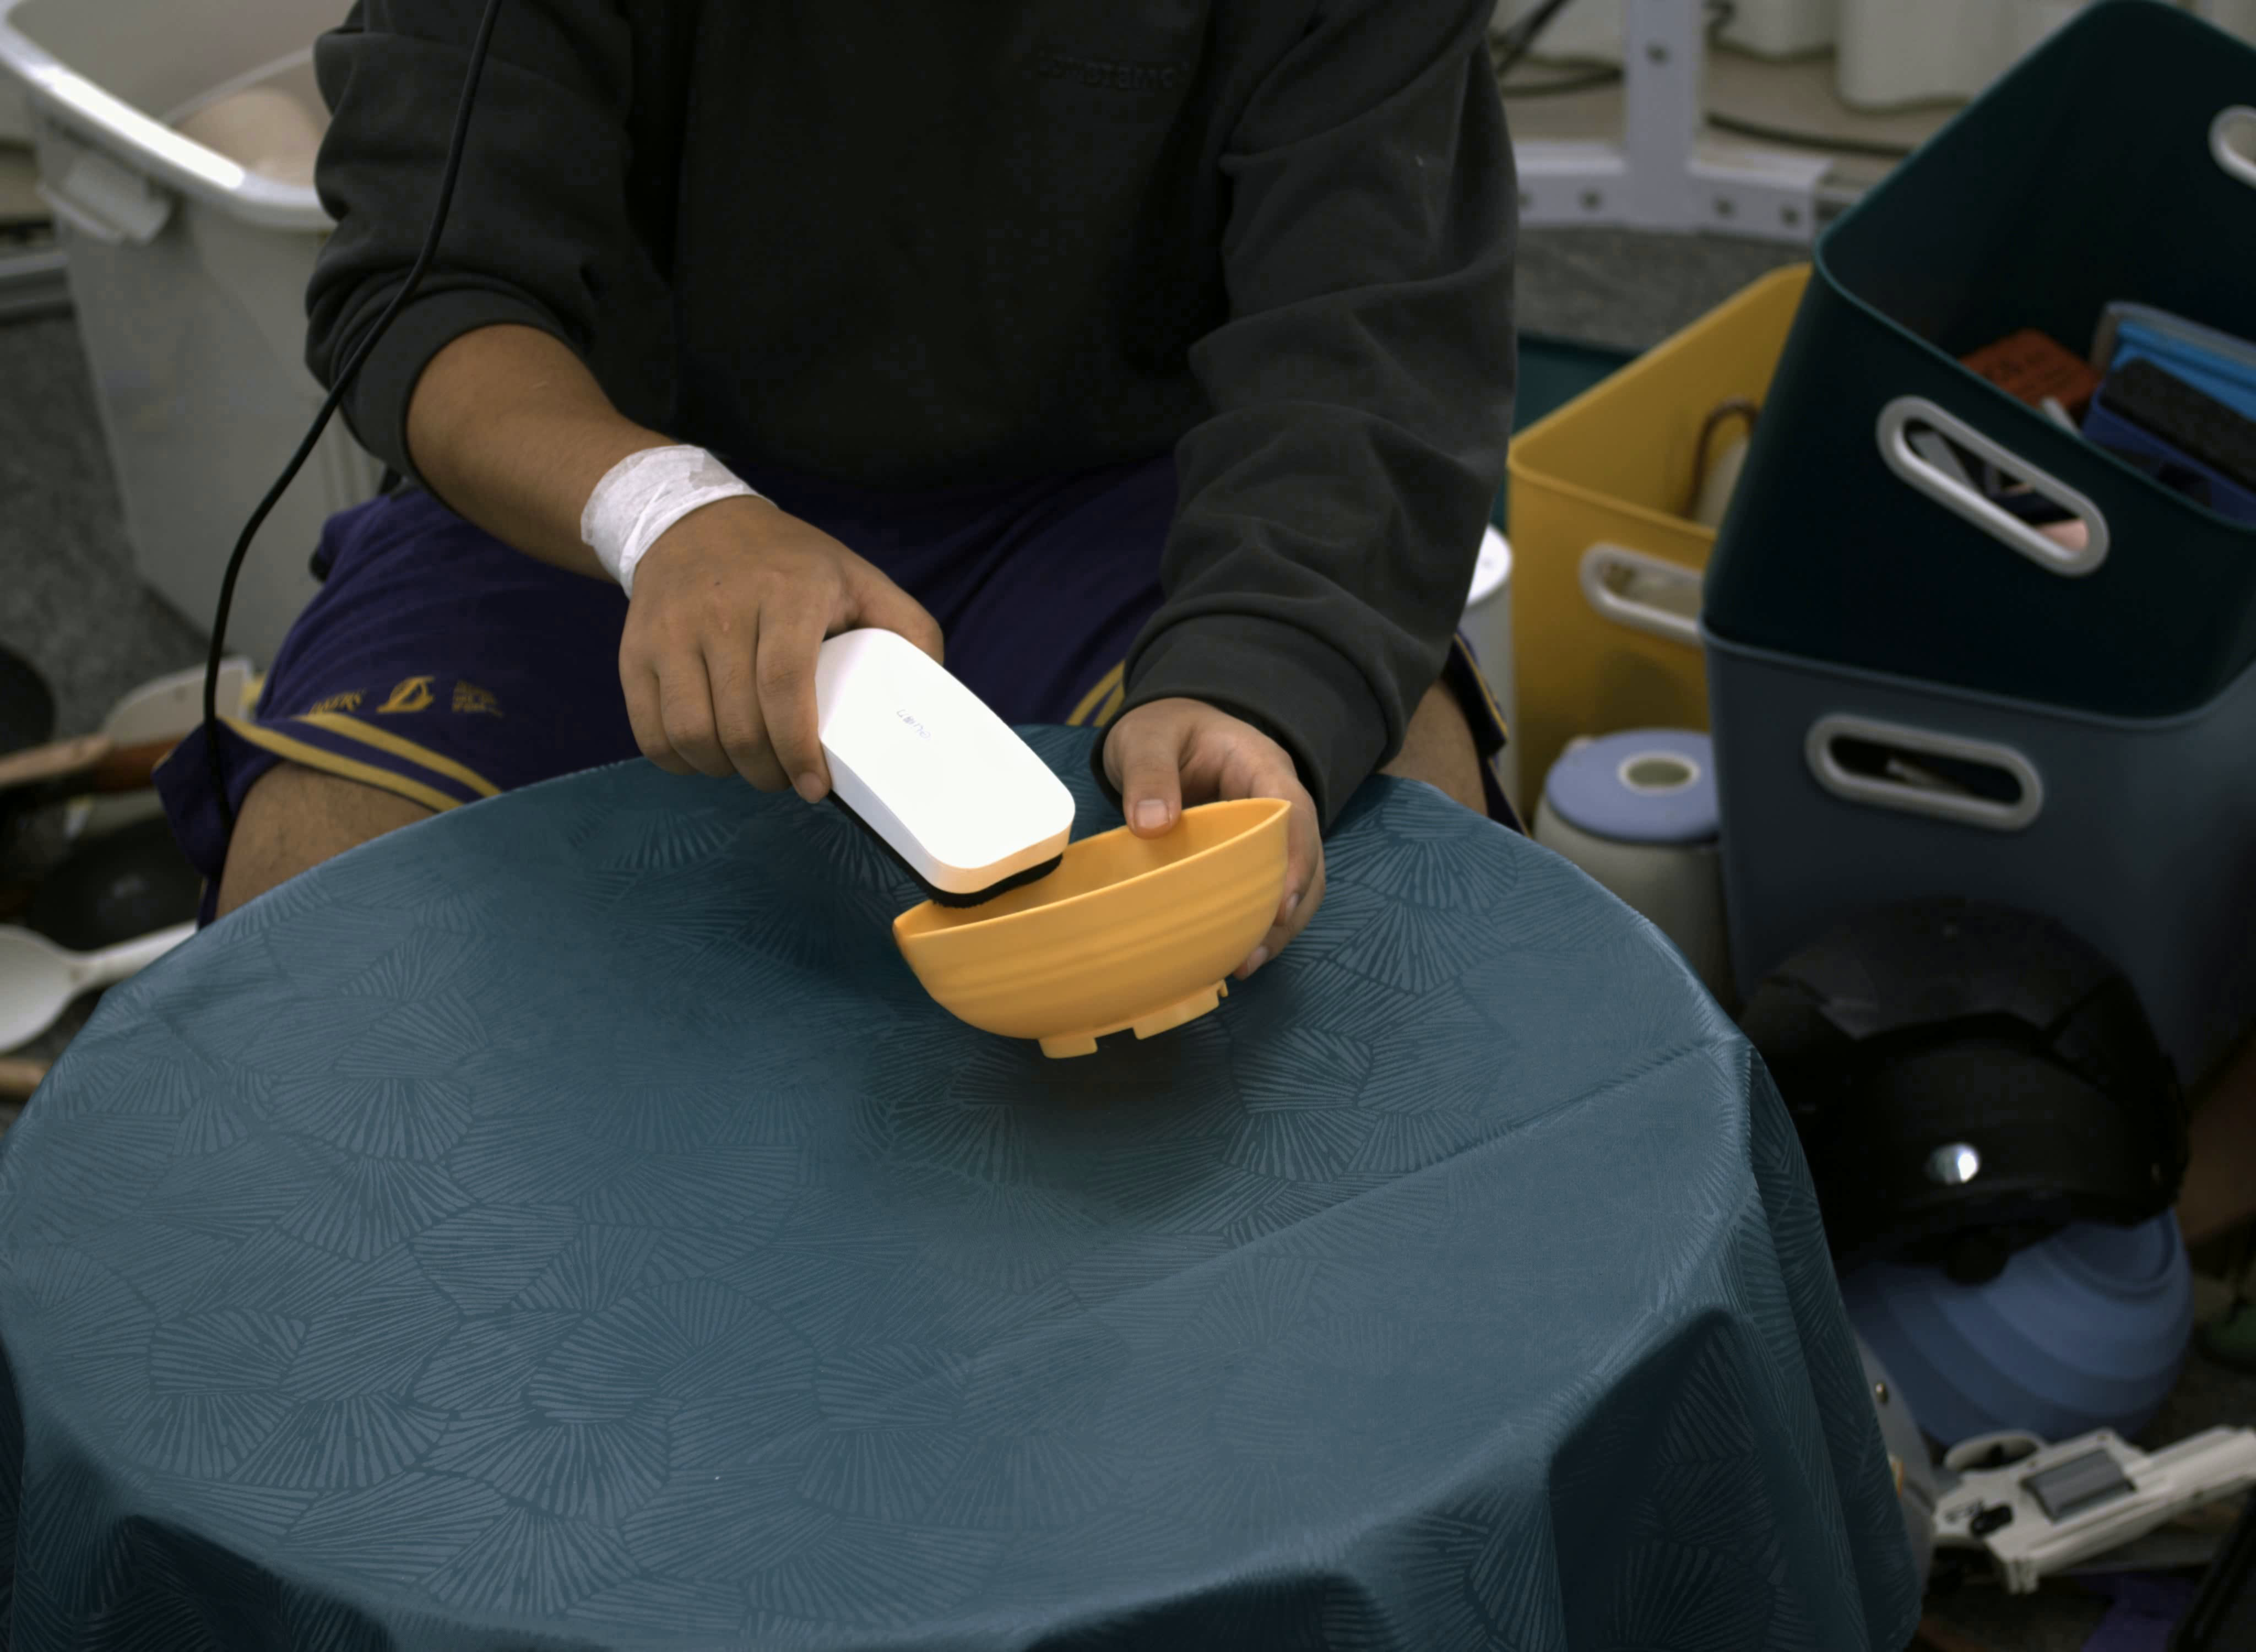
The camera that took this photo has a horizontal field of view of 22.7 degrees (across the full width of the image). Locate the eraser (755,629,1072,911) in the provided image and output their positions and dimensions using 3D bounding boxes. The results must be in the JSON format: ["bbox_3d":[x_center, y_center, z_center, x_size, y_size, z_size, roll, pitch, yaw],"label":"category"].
[{"bbox_3d":[-0.076,-0.023,1.987,0.064,0.034,0.132,-22,48,-30],"label":"eraser"}]

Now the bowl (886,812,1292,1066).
[{"bbox_3d":[-0.005,0.044,1.912,0.145,0.060,0.145,-17,4,1],"label":"bowl"}]
